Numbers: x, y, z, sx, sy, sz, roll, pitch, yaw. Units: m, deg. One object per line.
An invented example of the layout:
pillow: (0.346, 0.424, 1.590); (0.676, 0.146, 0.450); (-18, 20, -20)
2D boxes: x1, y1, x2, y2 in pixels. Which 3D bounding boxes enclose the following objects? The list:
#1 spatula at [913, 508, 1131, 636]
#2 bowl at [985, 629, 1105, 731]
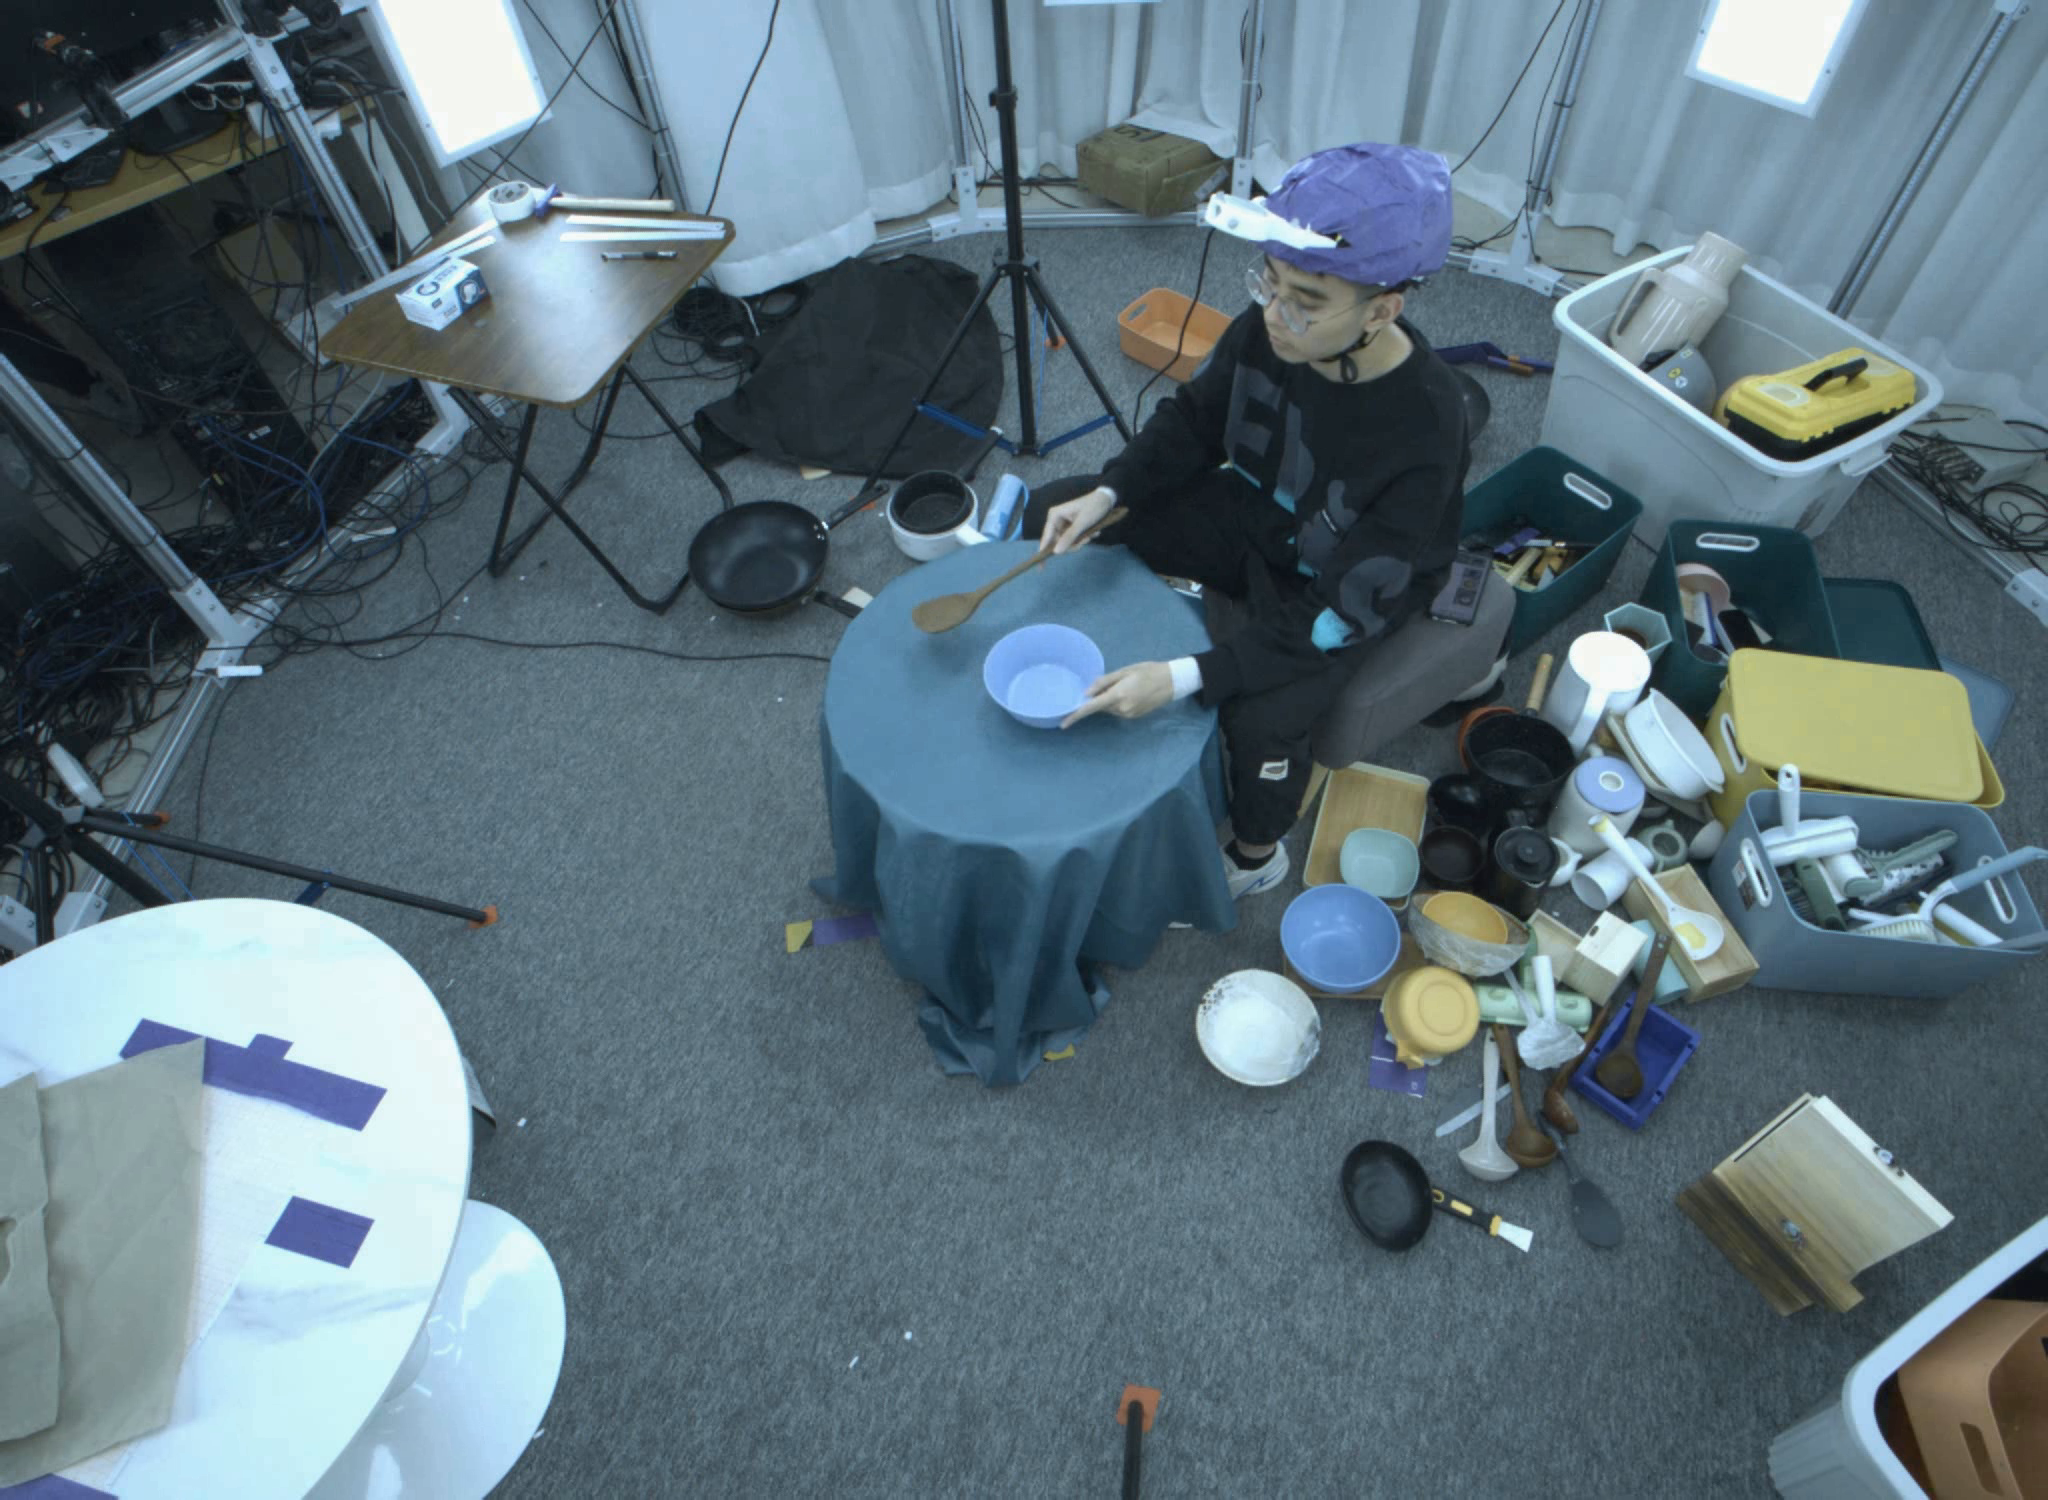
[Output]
spatula: (0.004, -0.281, 1.887); (0.388, 0.016, 0.094); (-32, 42, -13)
bowl: (0.032, -0.094, 1.820); (0.176, 0.071, 0.174); (0, 54, 1)
